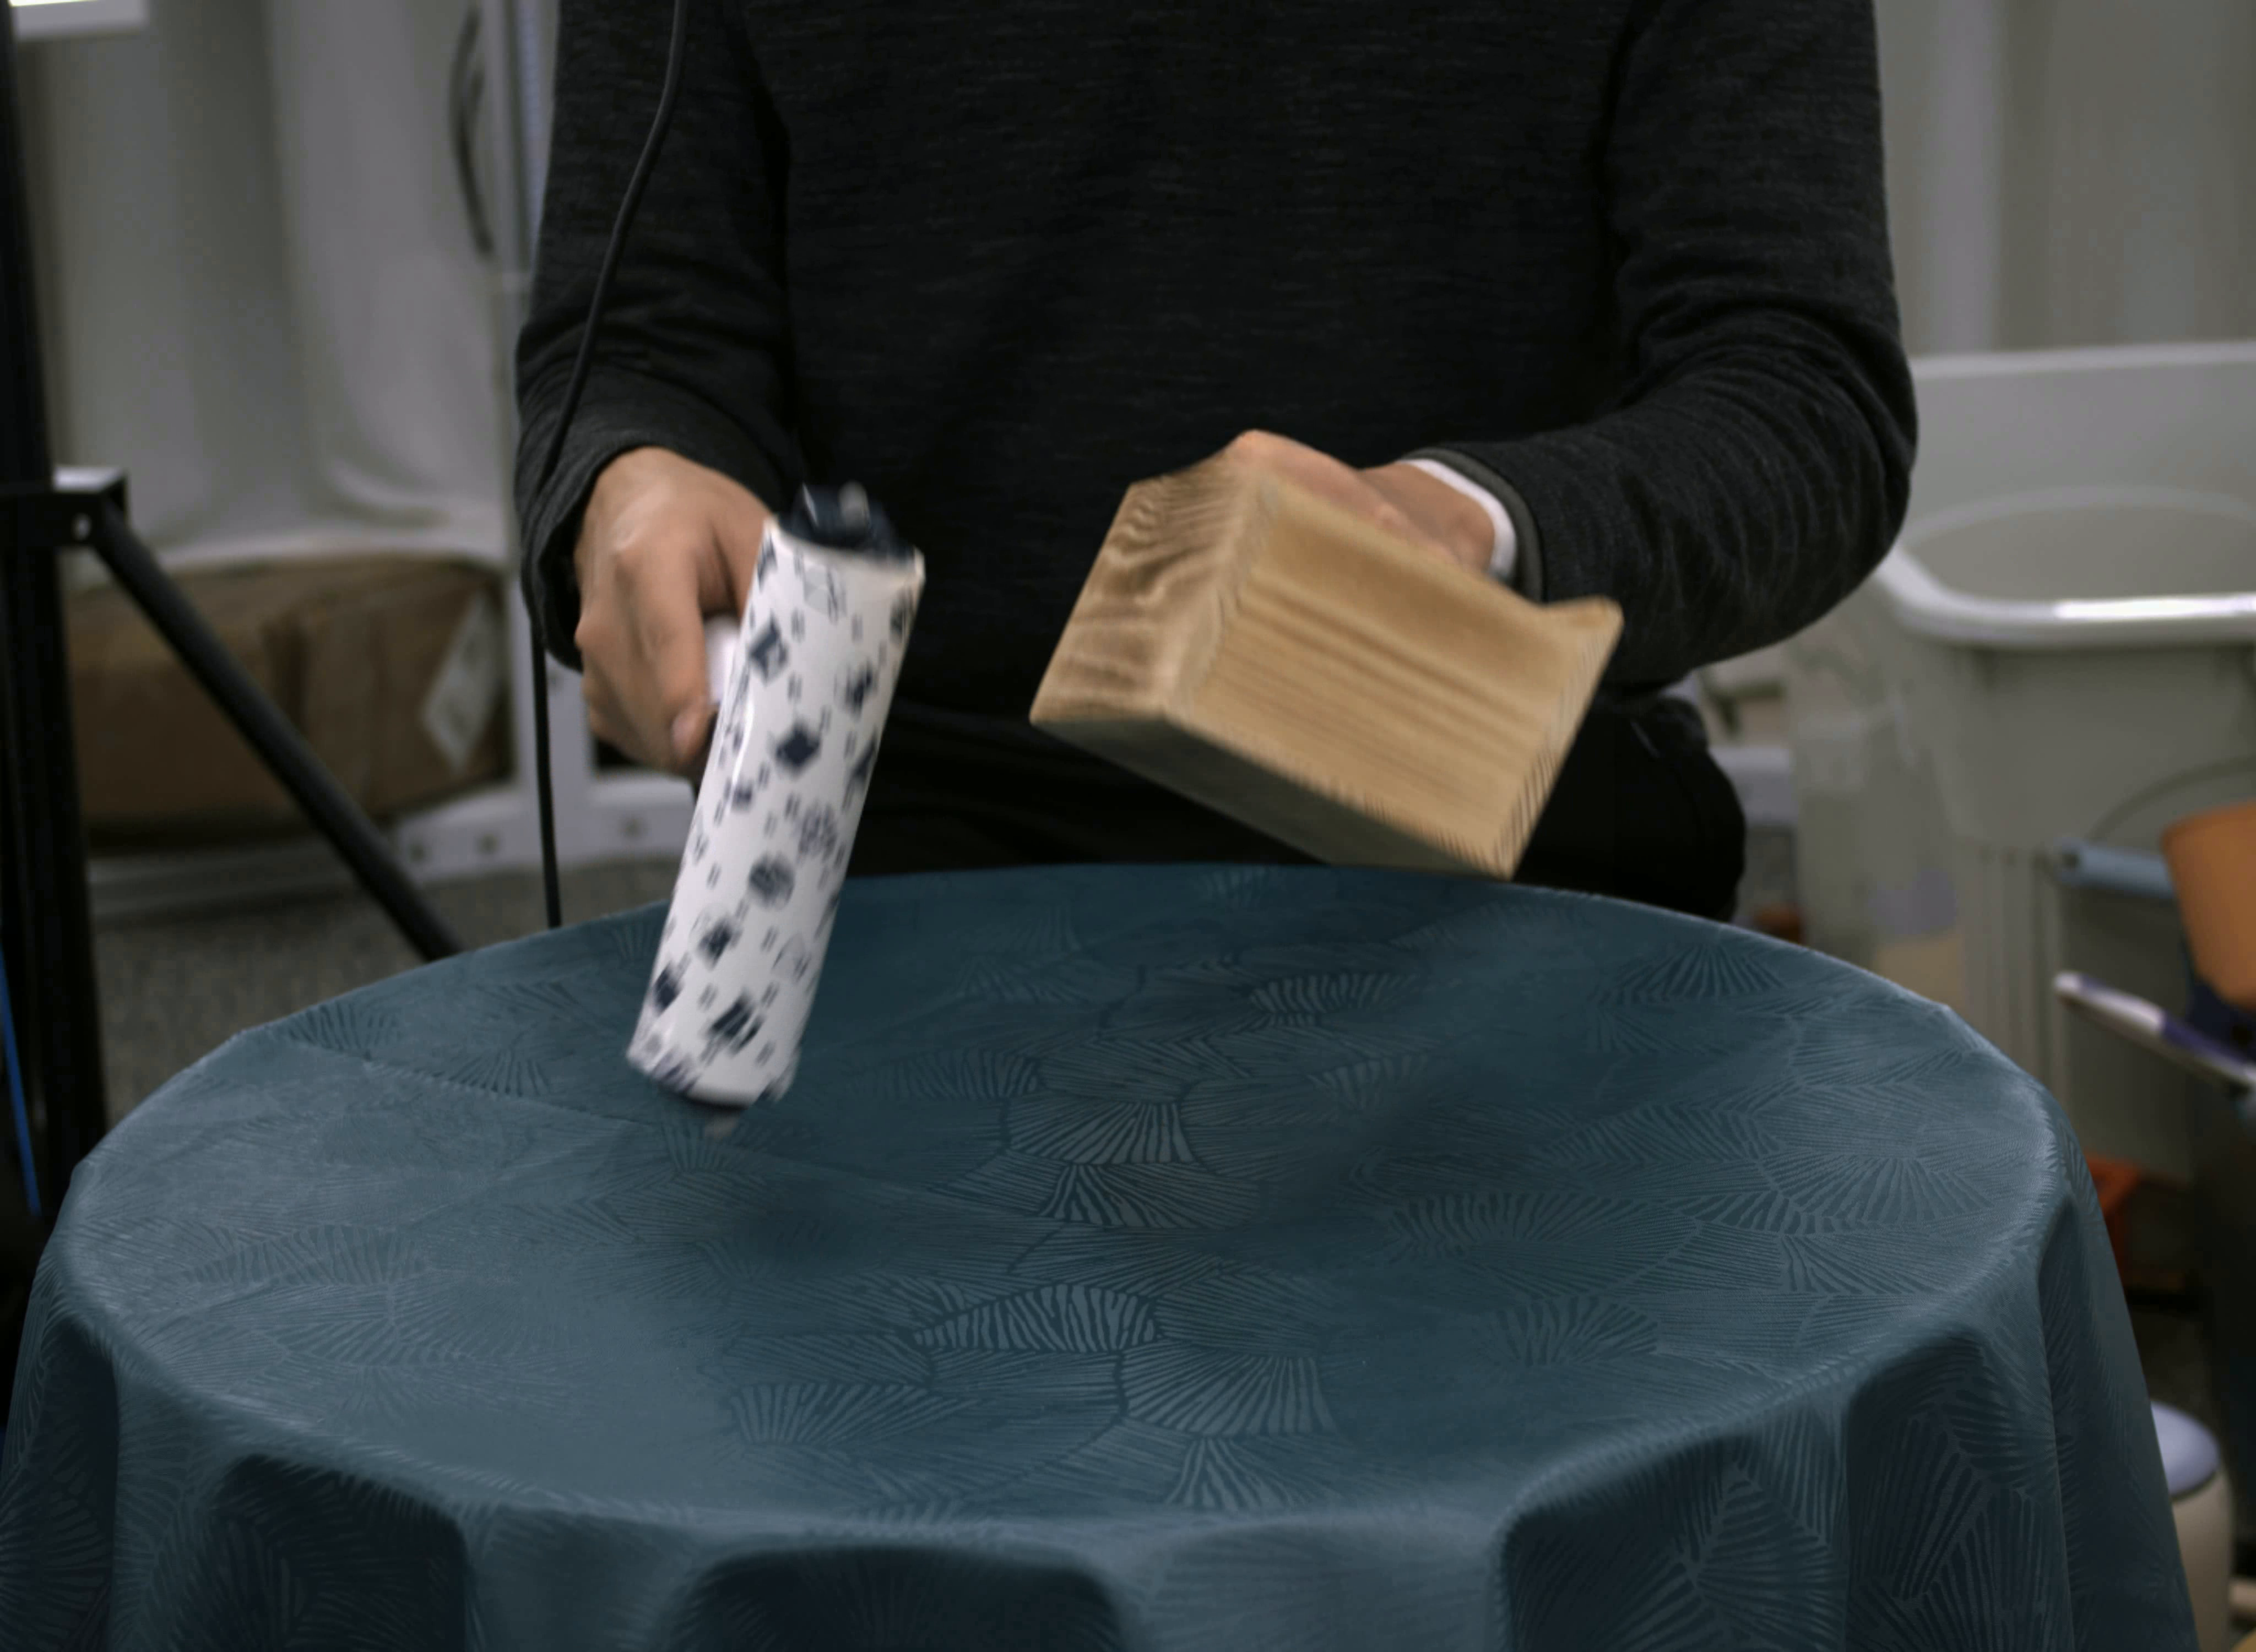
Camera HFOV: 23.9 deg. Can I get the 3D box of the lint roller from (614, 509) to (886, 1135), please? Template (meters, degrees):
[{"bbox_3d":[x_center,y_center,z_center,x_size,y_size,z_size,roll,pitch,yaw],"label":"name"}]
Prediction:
[{"bbox_3d":[-0.125,-0.027,1.612,0.049,0.177,0.250,10,14,-14],"label":"lint roller"}]

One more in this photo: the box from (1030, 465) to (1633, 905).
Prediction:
[{"bbox_3d":[0.052,-0.039,1.506,0.106,0.080,0.213,26,-4,-11],"label":"box"}]
